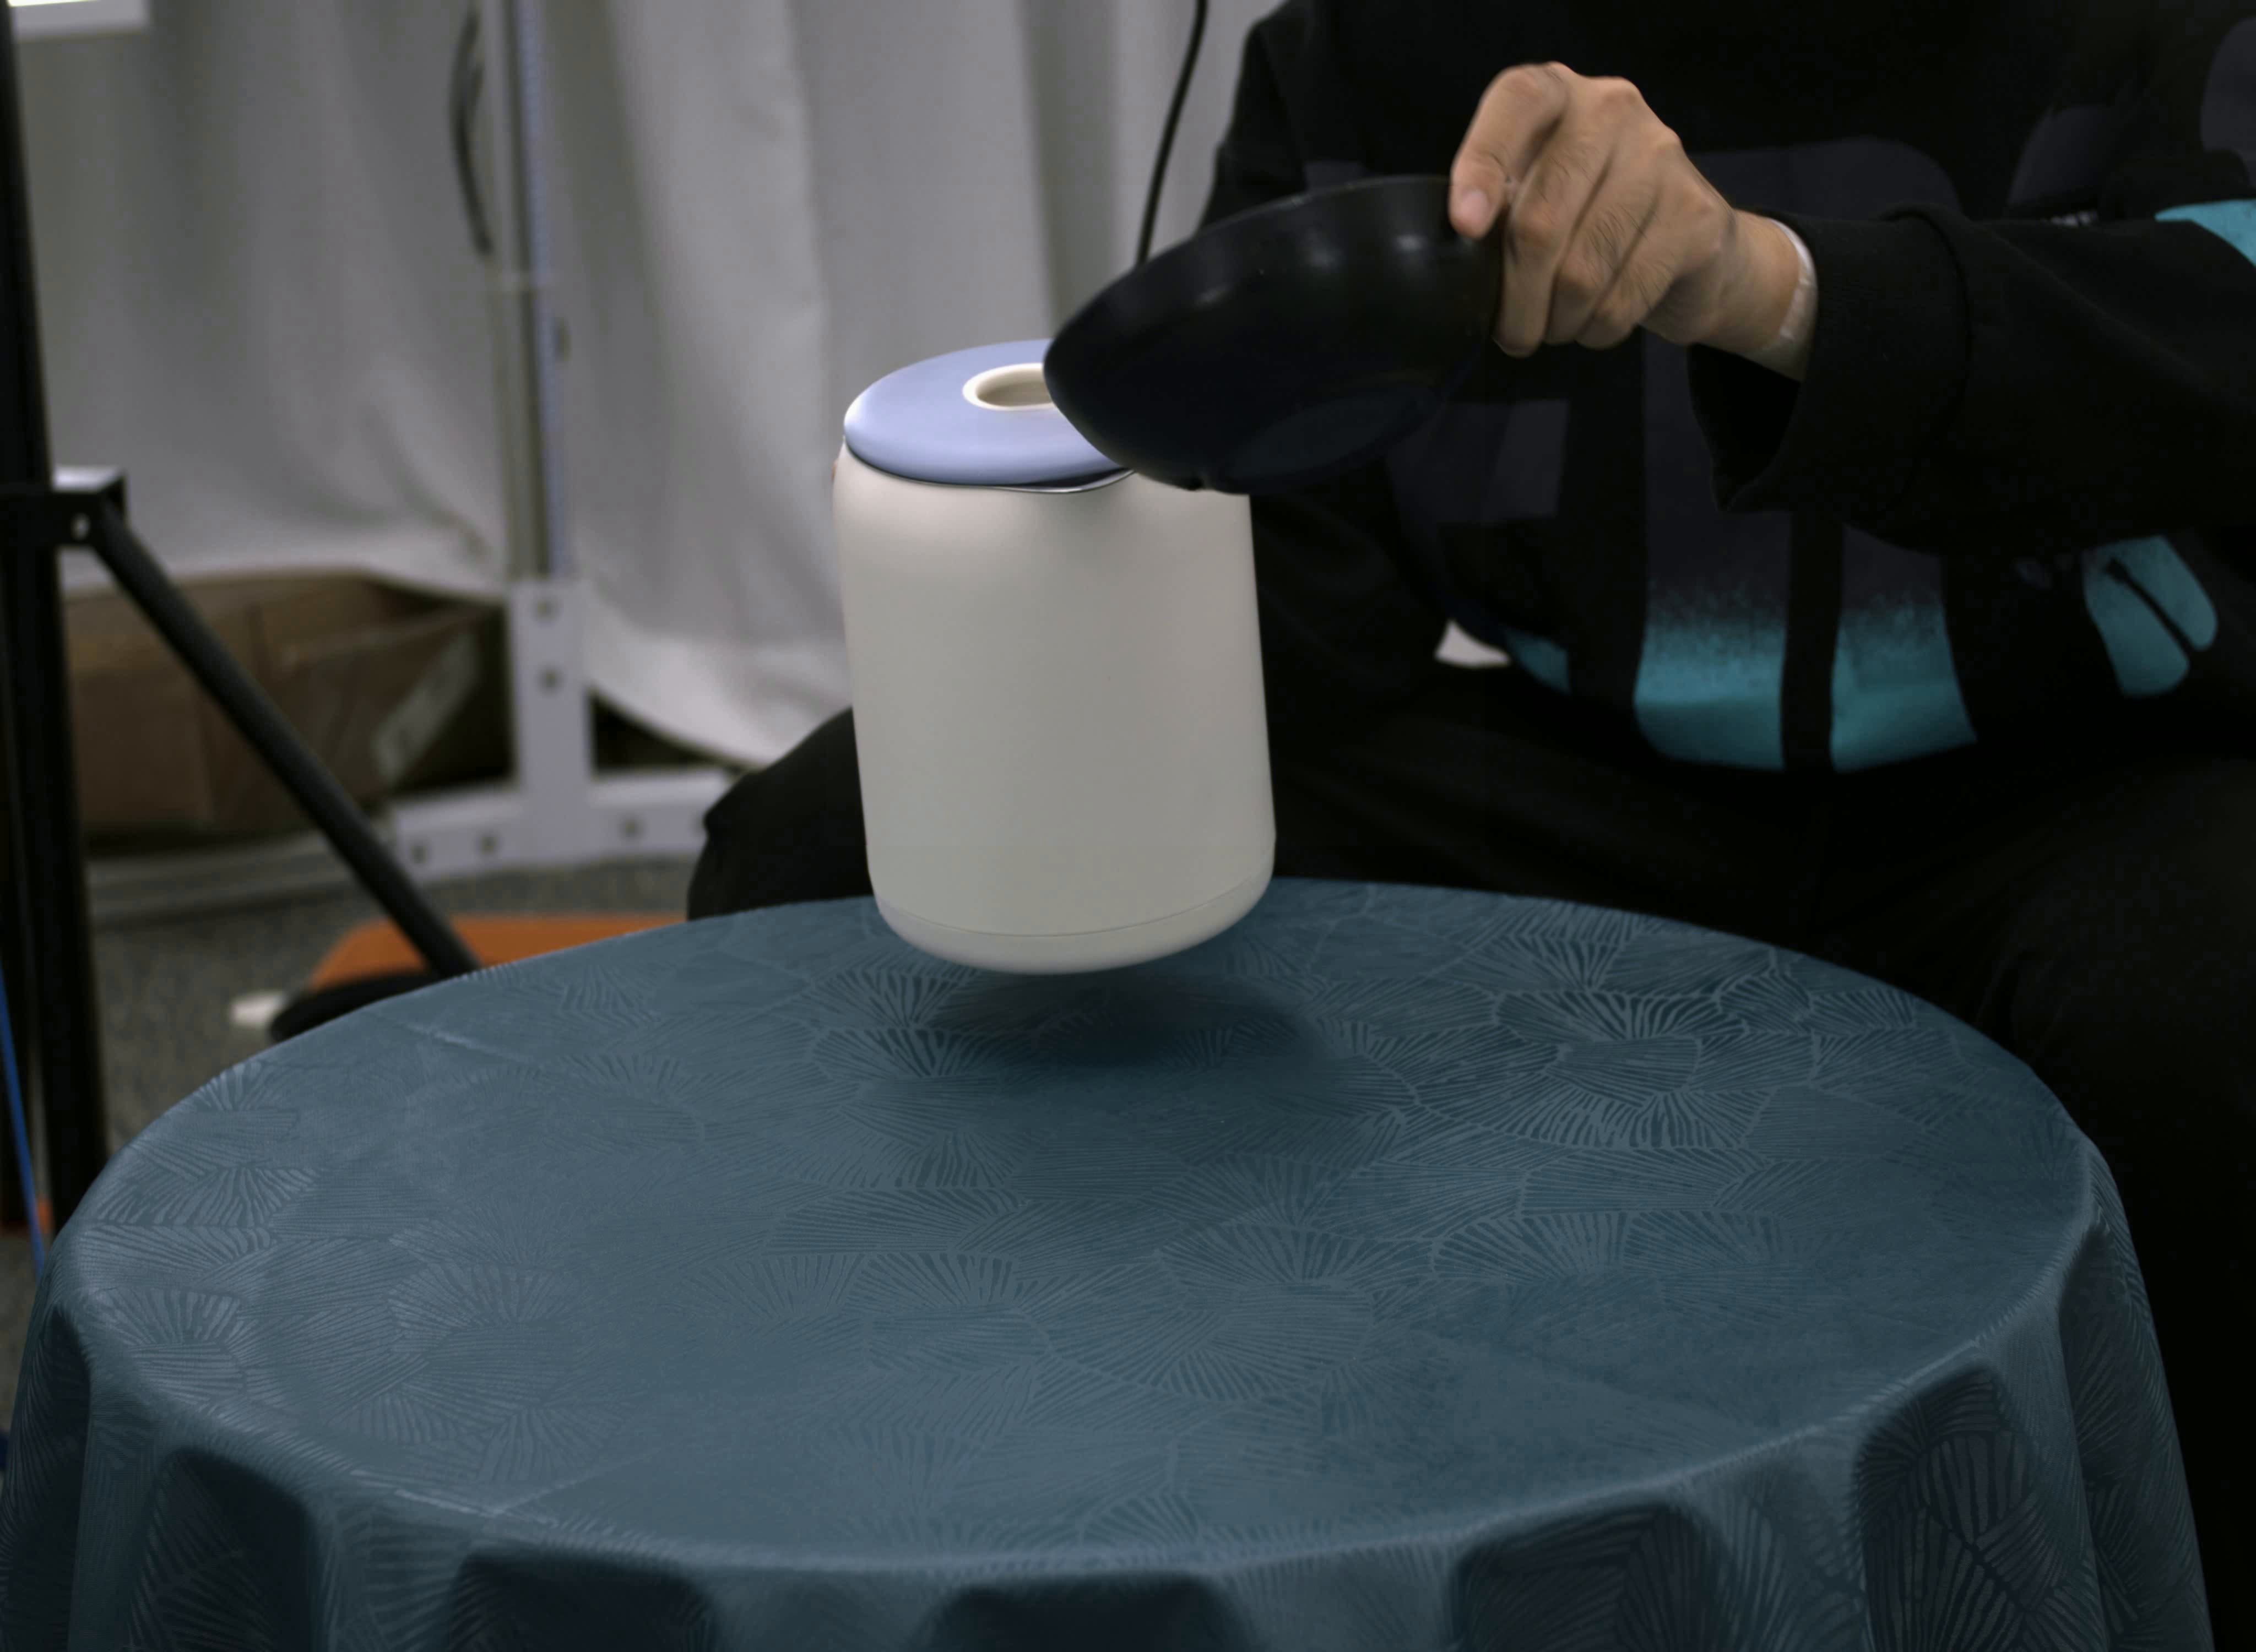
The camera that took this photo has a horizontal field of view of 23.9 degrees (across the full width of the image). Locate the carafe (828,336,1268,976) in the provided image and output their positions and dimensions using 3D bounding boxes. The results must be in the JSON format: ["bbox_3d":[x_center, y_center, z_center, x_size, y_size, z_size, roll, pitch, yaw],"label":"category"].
[{"bbox_3d":[-0.031,-0.063,1.707,0.130,0.182,0.194,-9,21,-12],"label":"carafe"}]

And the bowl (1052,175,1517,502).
[{"bbox_3d":[0.051,-0.130,1.515,0.139,0.050,0.139,-17,-16,-6],"label":"bowl"}]
